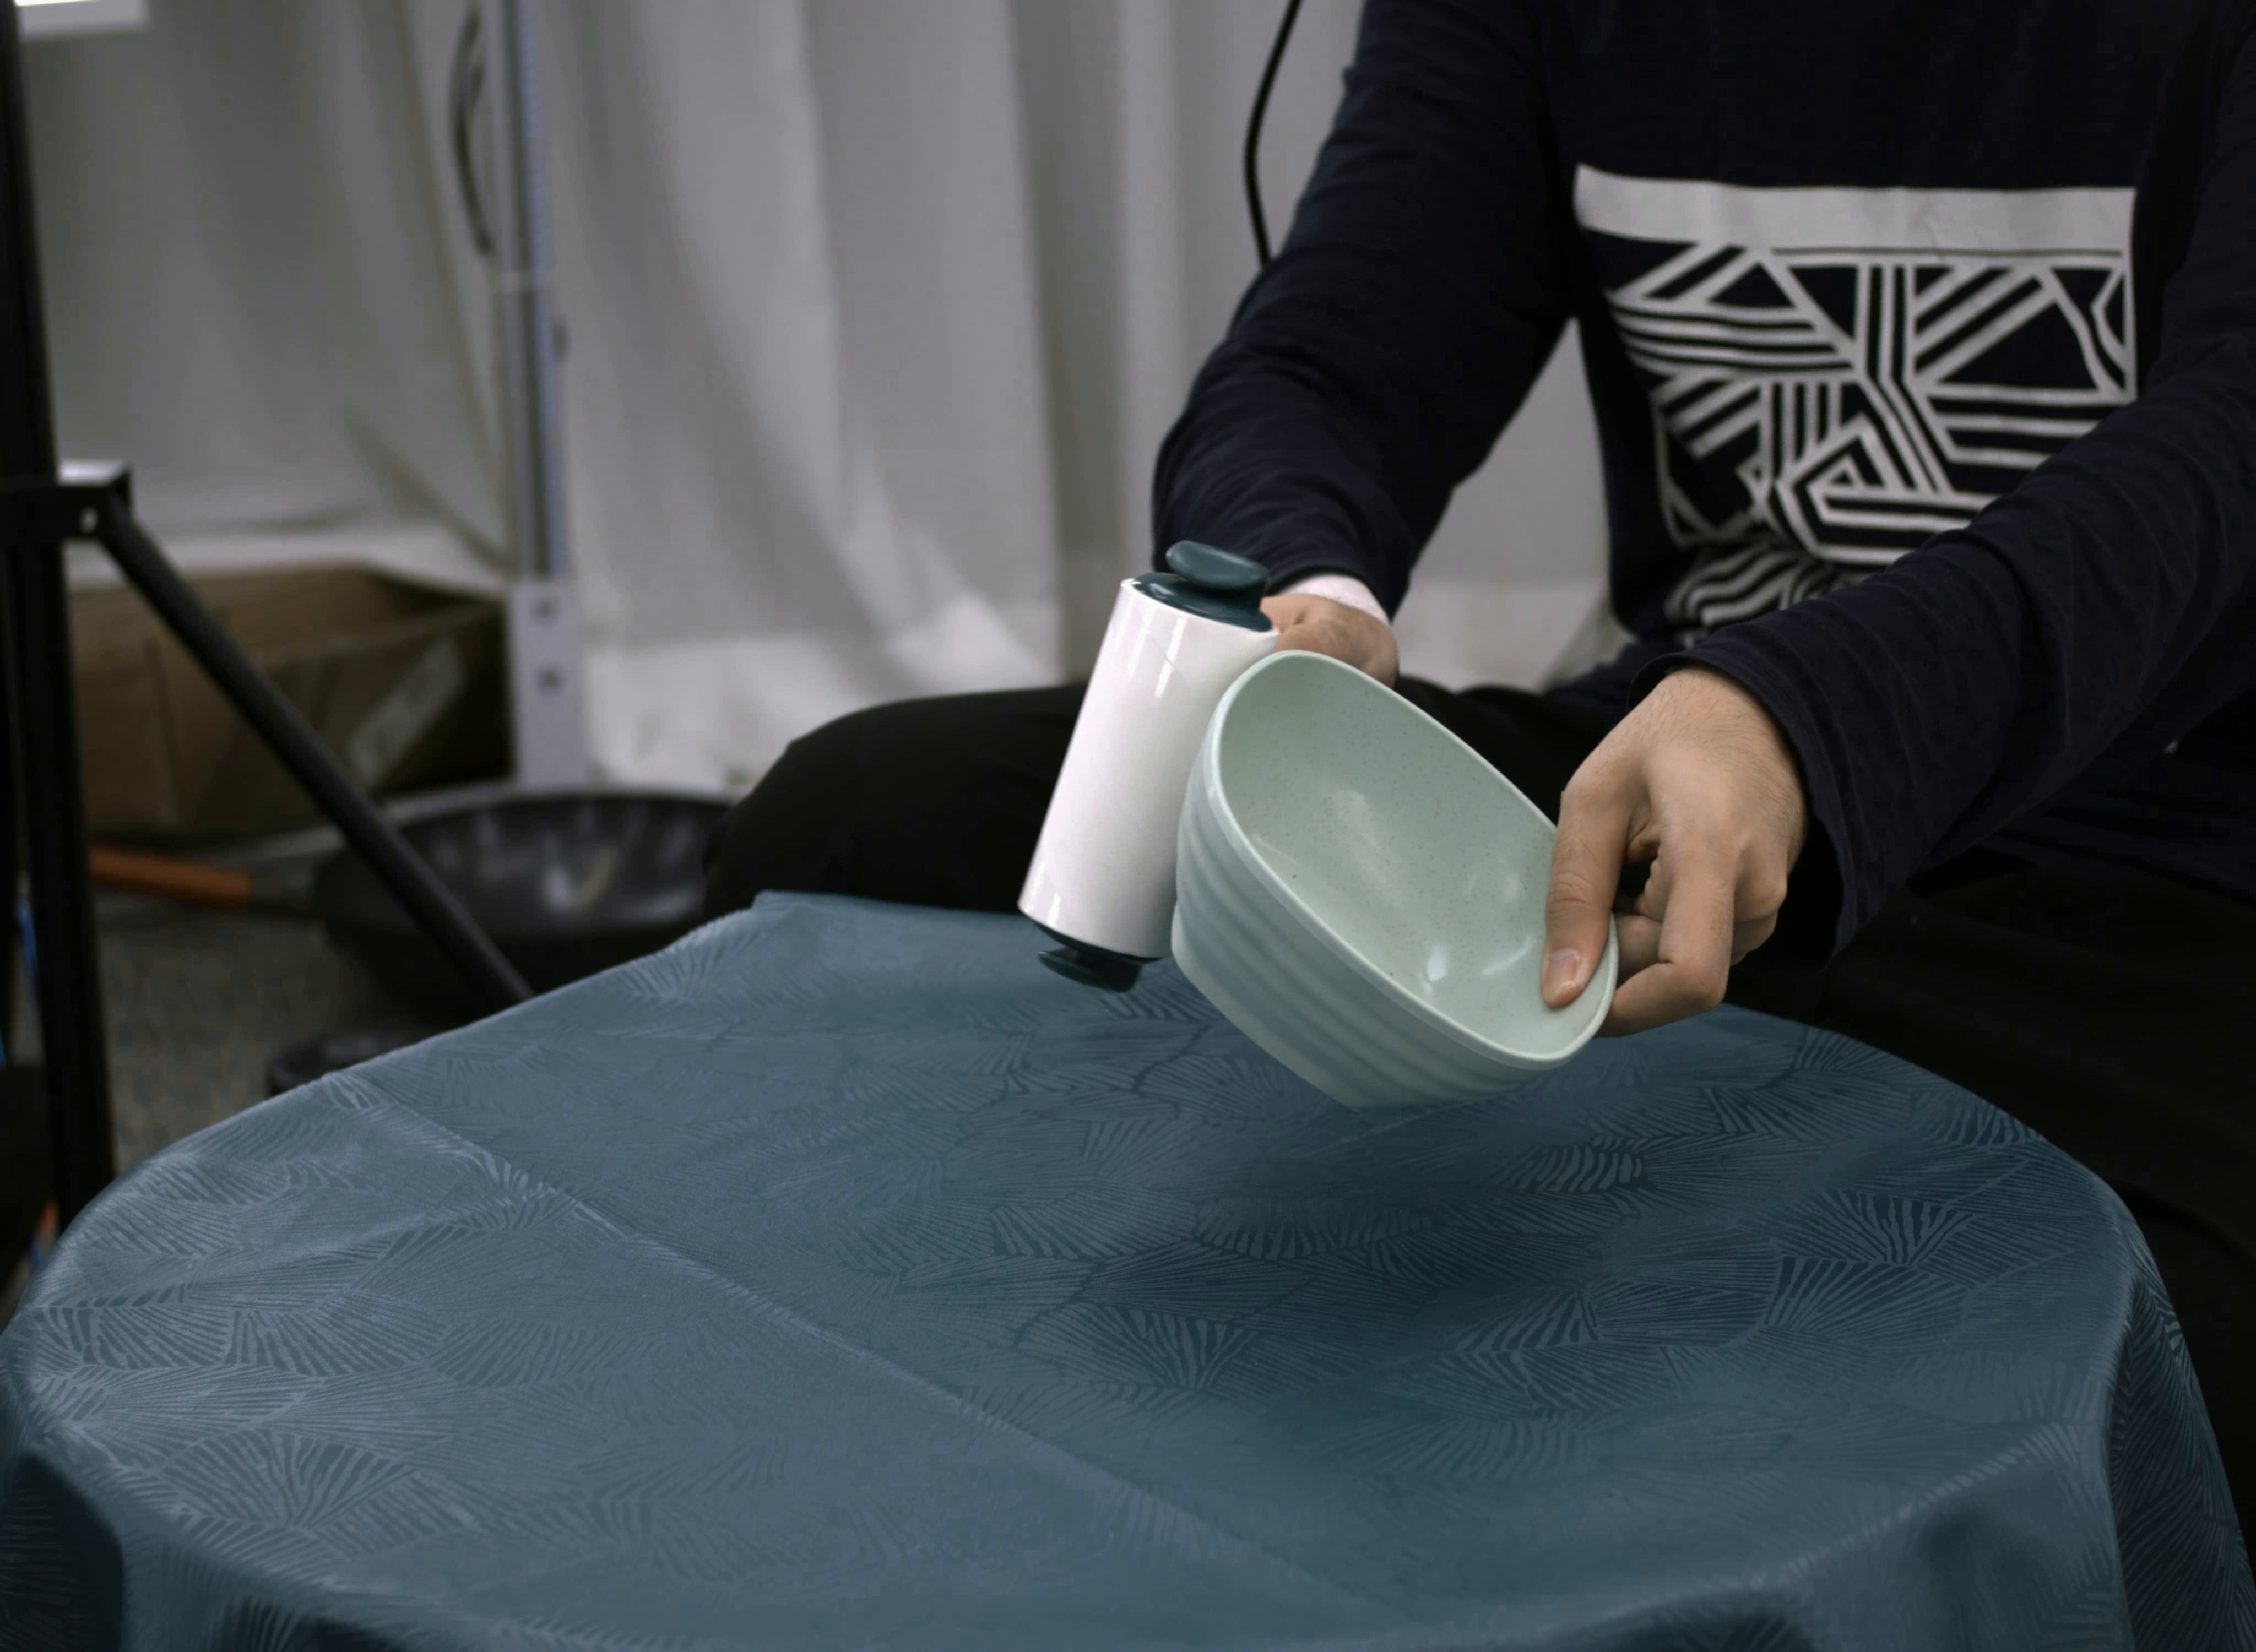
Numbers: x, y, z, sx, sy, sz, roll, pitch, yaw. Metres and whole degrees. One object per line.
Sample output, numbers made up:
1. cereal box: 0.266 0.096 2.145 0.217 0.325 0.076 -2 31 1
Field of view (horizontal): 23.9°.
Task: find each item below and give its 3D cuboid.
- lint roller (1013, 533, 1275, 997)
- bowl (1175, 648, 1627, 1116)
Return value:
1. lint roller: 0.020 -0.023 1.582 0.048 0.135 0.178 21 10 10
2. bowl: 0.066 0.025 1.480 0.148 0.059 0.153 25 35 -21
